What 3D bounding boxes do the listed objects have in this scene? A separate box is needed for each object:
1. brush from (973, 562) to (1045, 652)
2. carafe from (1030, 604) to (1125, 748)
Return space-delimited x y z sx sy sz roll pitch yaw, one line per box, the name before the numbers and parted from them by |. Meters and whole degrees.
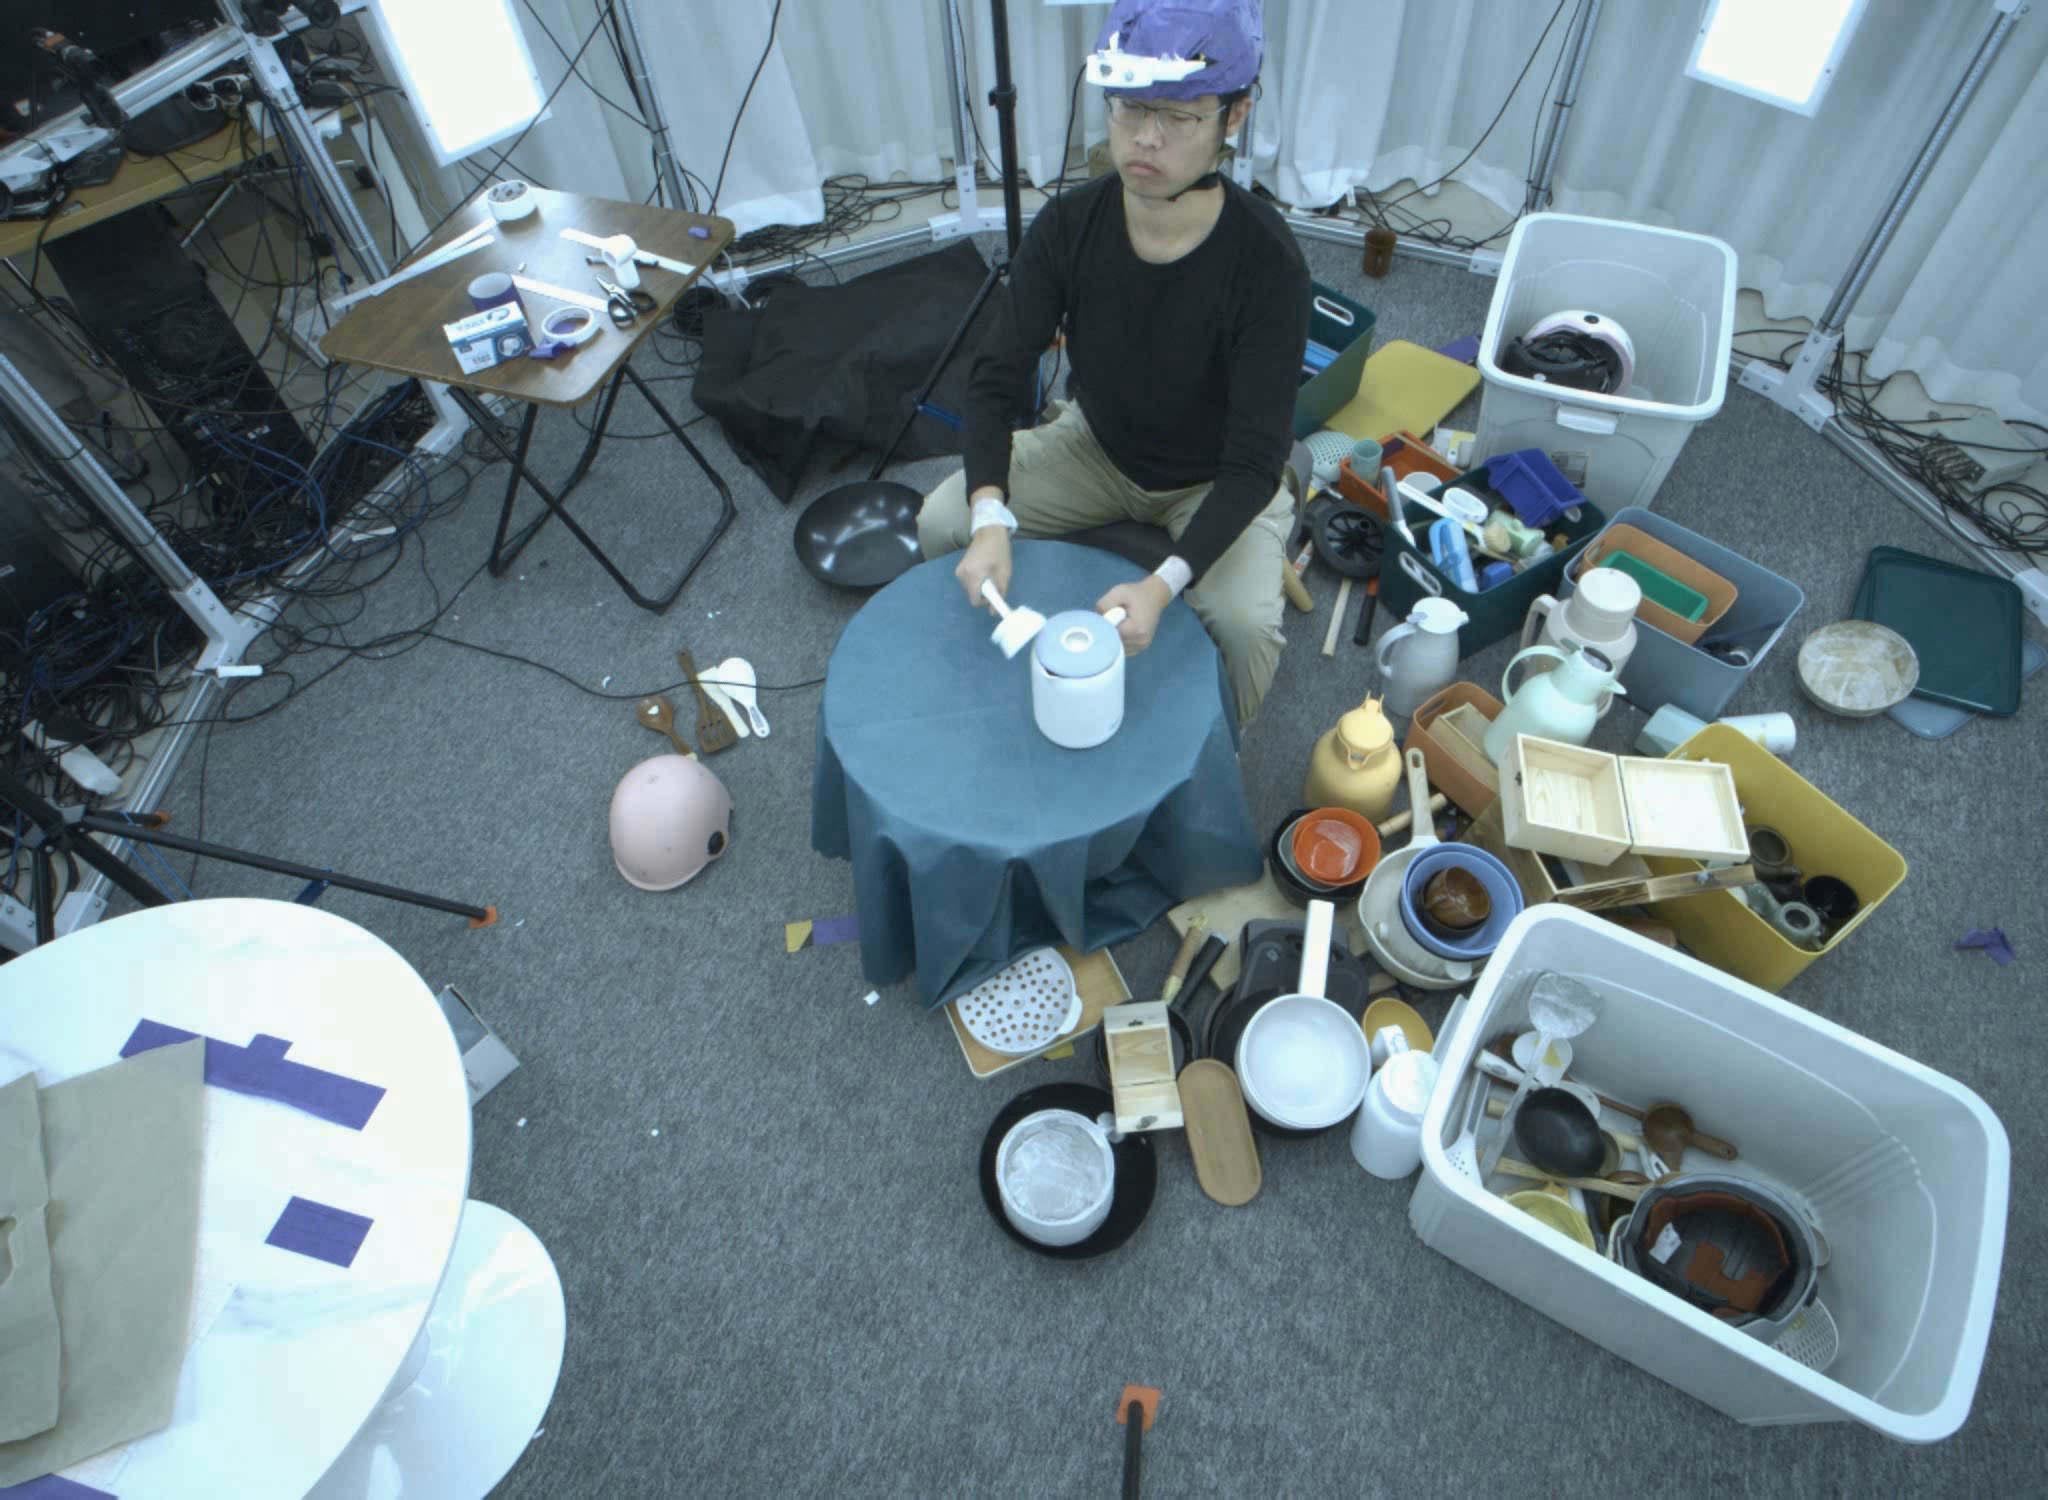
brush | -0.019 -0.209 1.796 0.083 0.085 0.321 -8 22 -5
carafe | 0.090 -0.117 1.759 0.130 0.184 0.192 30 61 20
